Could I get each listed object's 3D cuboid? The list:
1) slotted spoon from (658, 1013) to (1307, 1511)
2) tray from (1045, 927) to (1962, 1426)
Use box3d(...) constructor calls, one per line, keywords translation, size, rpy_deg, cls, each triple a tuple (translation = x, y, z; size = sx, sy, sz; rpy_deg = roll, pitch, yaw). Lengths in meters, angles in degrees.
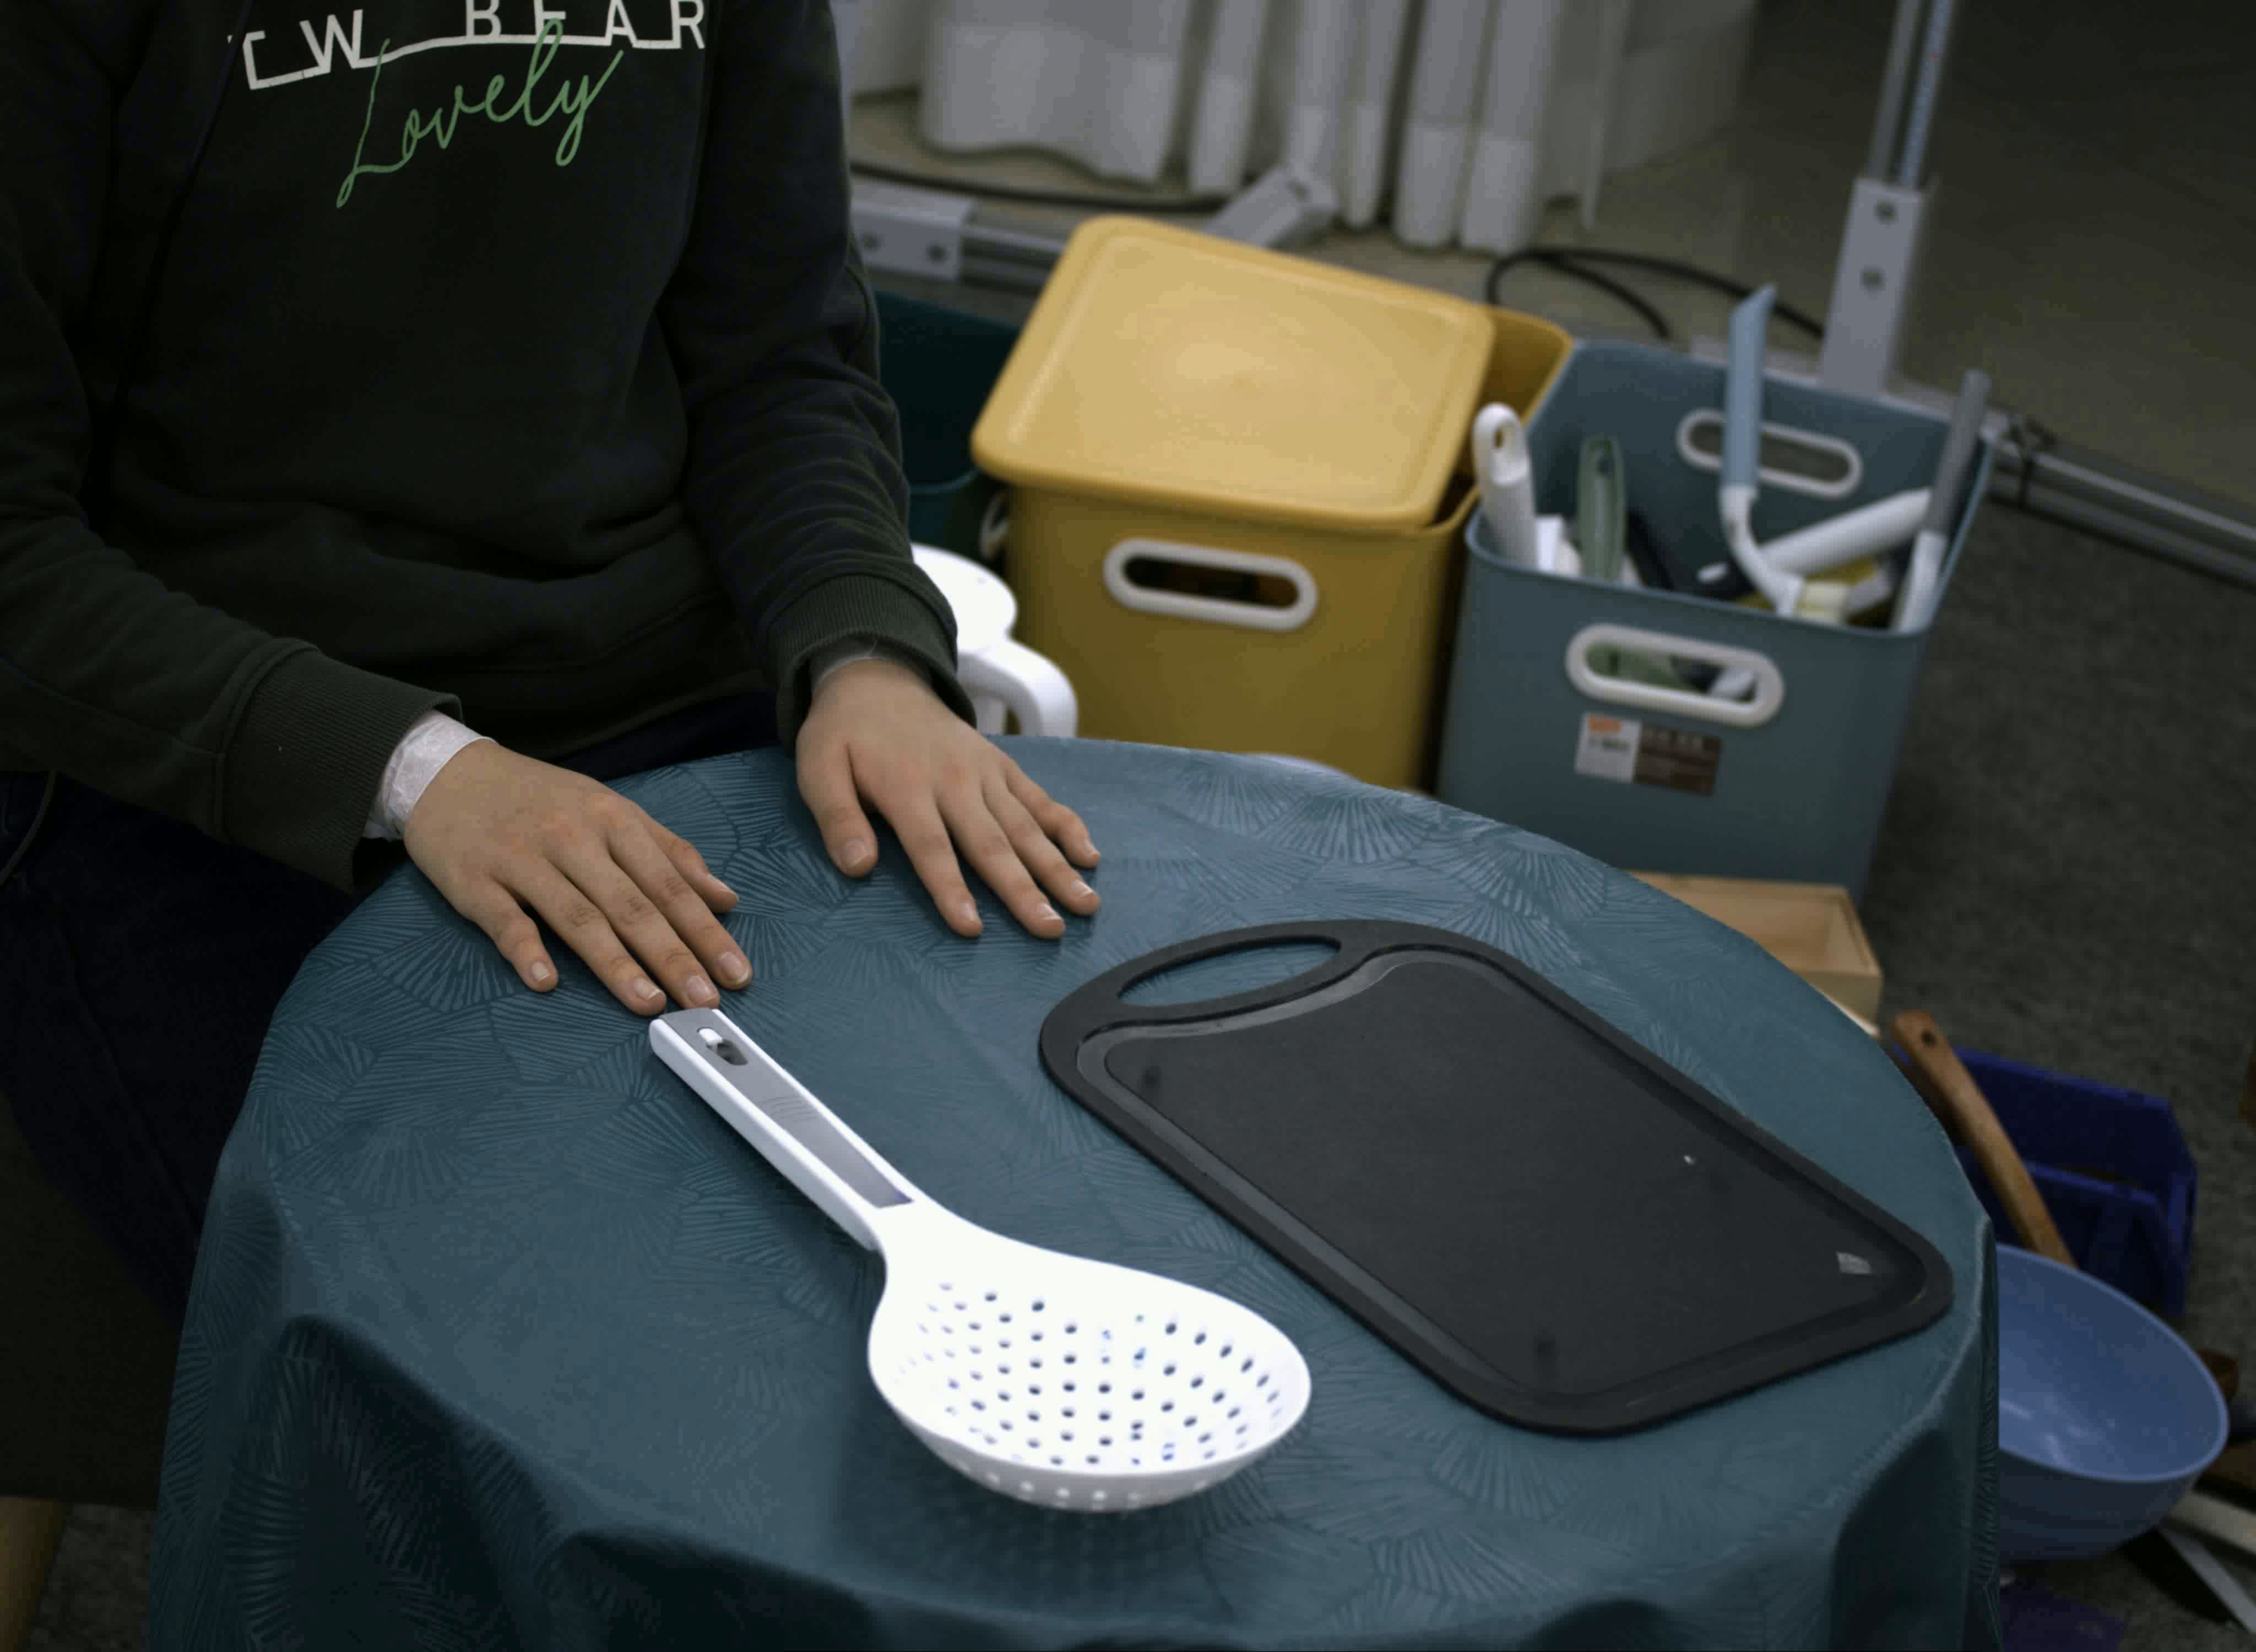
box3d(translation=(-0.067, 0.134, 1.714), size=(0.135, 0.045, 0.353), rpy_deg=(-7, 29, -30), cls="slotted spoon")
box3d(translation=(0.120, 0.111, 1.844), size=(0.210, 0.010, 0.328), rpy_deg=(-13, 32, -34), cls="tray")
